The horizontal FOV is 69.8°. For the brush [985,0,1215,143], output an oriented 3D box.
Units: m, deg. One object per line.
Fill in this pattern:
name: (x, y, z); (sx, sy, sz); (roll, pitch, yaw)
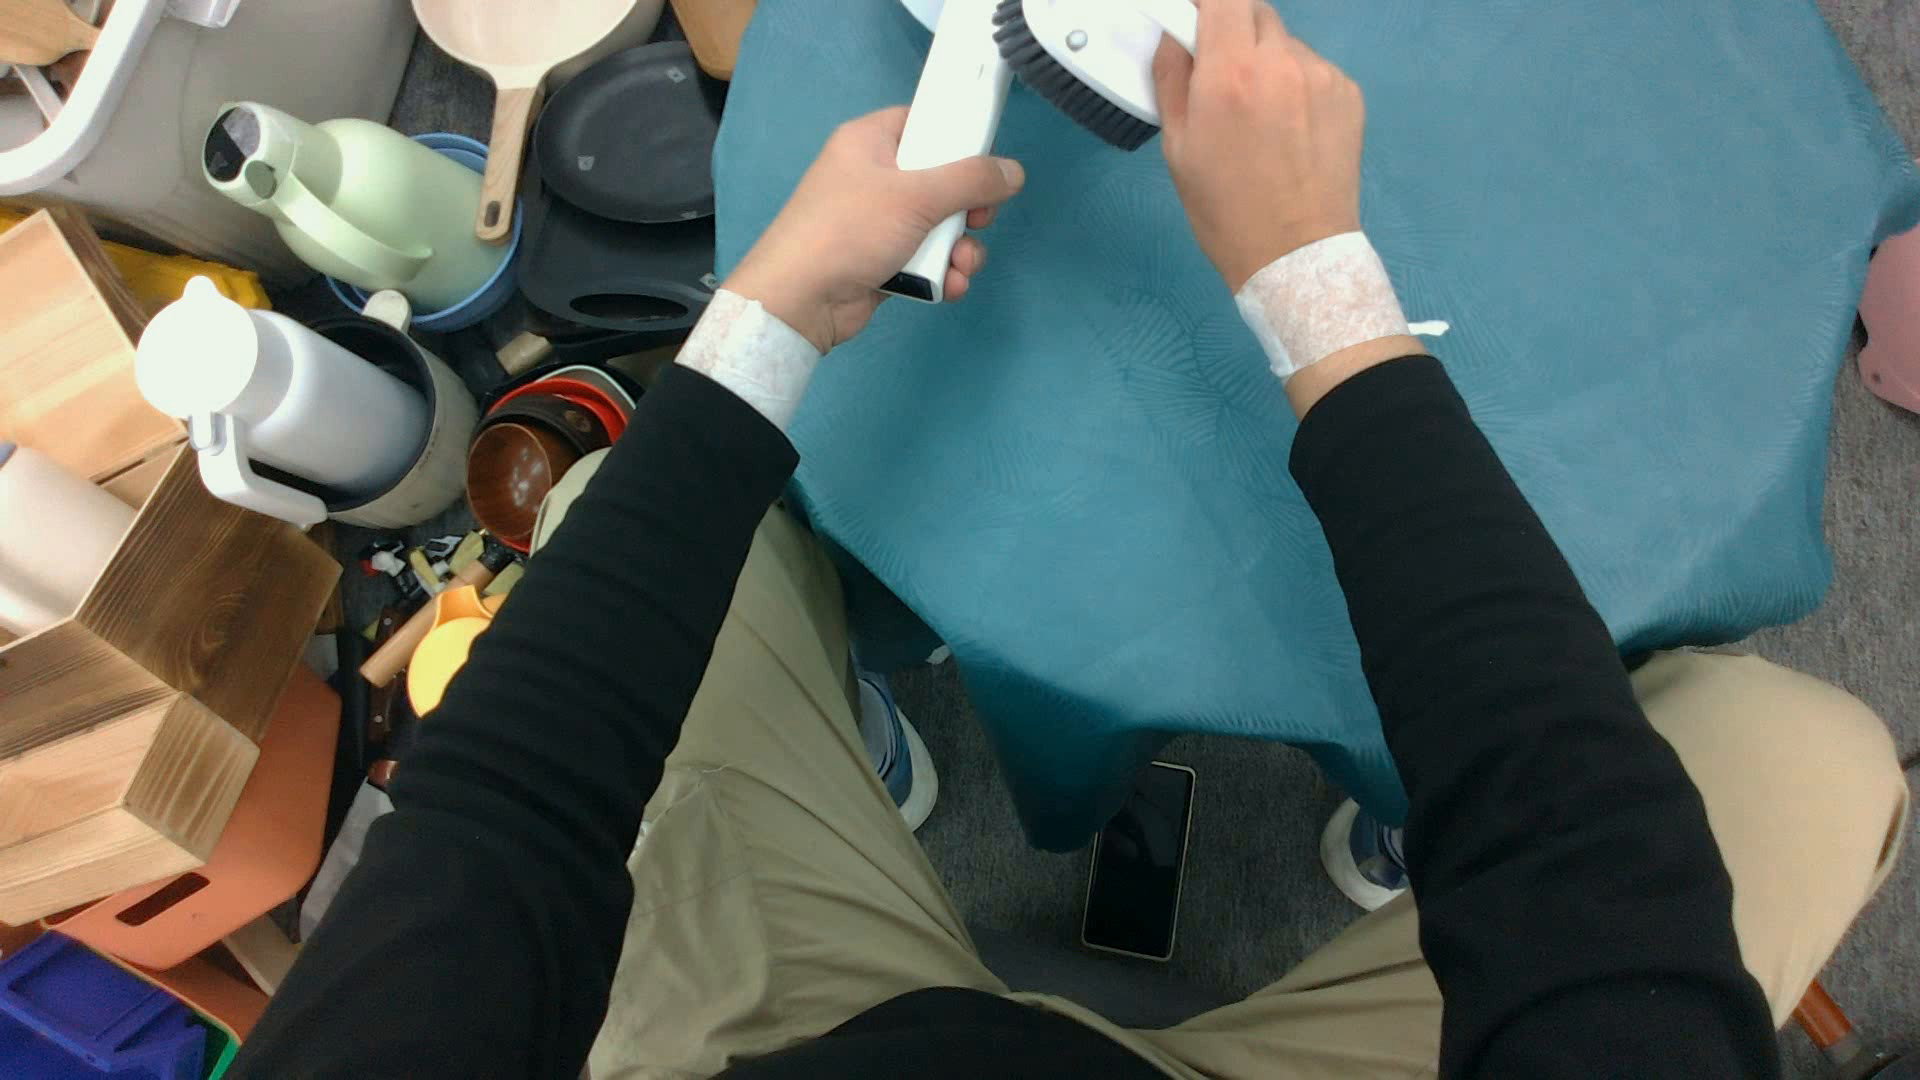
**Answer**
brush: (0.069, -0.225, 0.612); (0.099, 0.072, 0.050); (29, 73, -26)

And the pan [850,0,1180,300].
pan: (0.019, -0.278, 0.707); (0.201, 0.102, 0.355); (15, 78, 4)
